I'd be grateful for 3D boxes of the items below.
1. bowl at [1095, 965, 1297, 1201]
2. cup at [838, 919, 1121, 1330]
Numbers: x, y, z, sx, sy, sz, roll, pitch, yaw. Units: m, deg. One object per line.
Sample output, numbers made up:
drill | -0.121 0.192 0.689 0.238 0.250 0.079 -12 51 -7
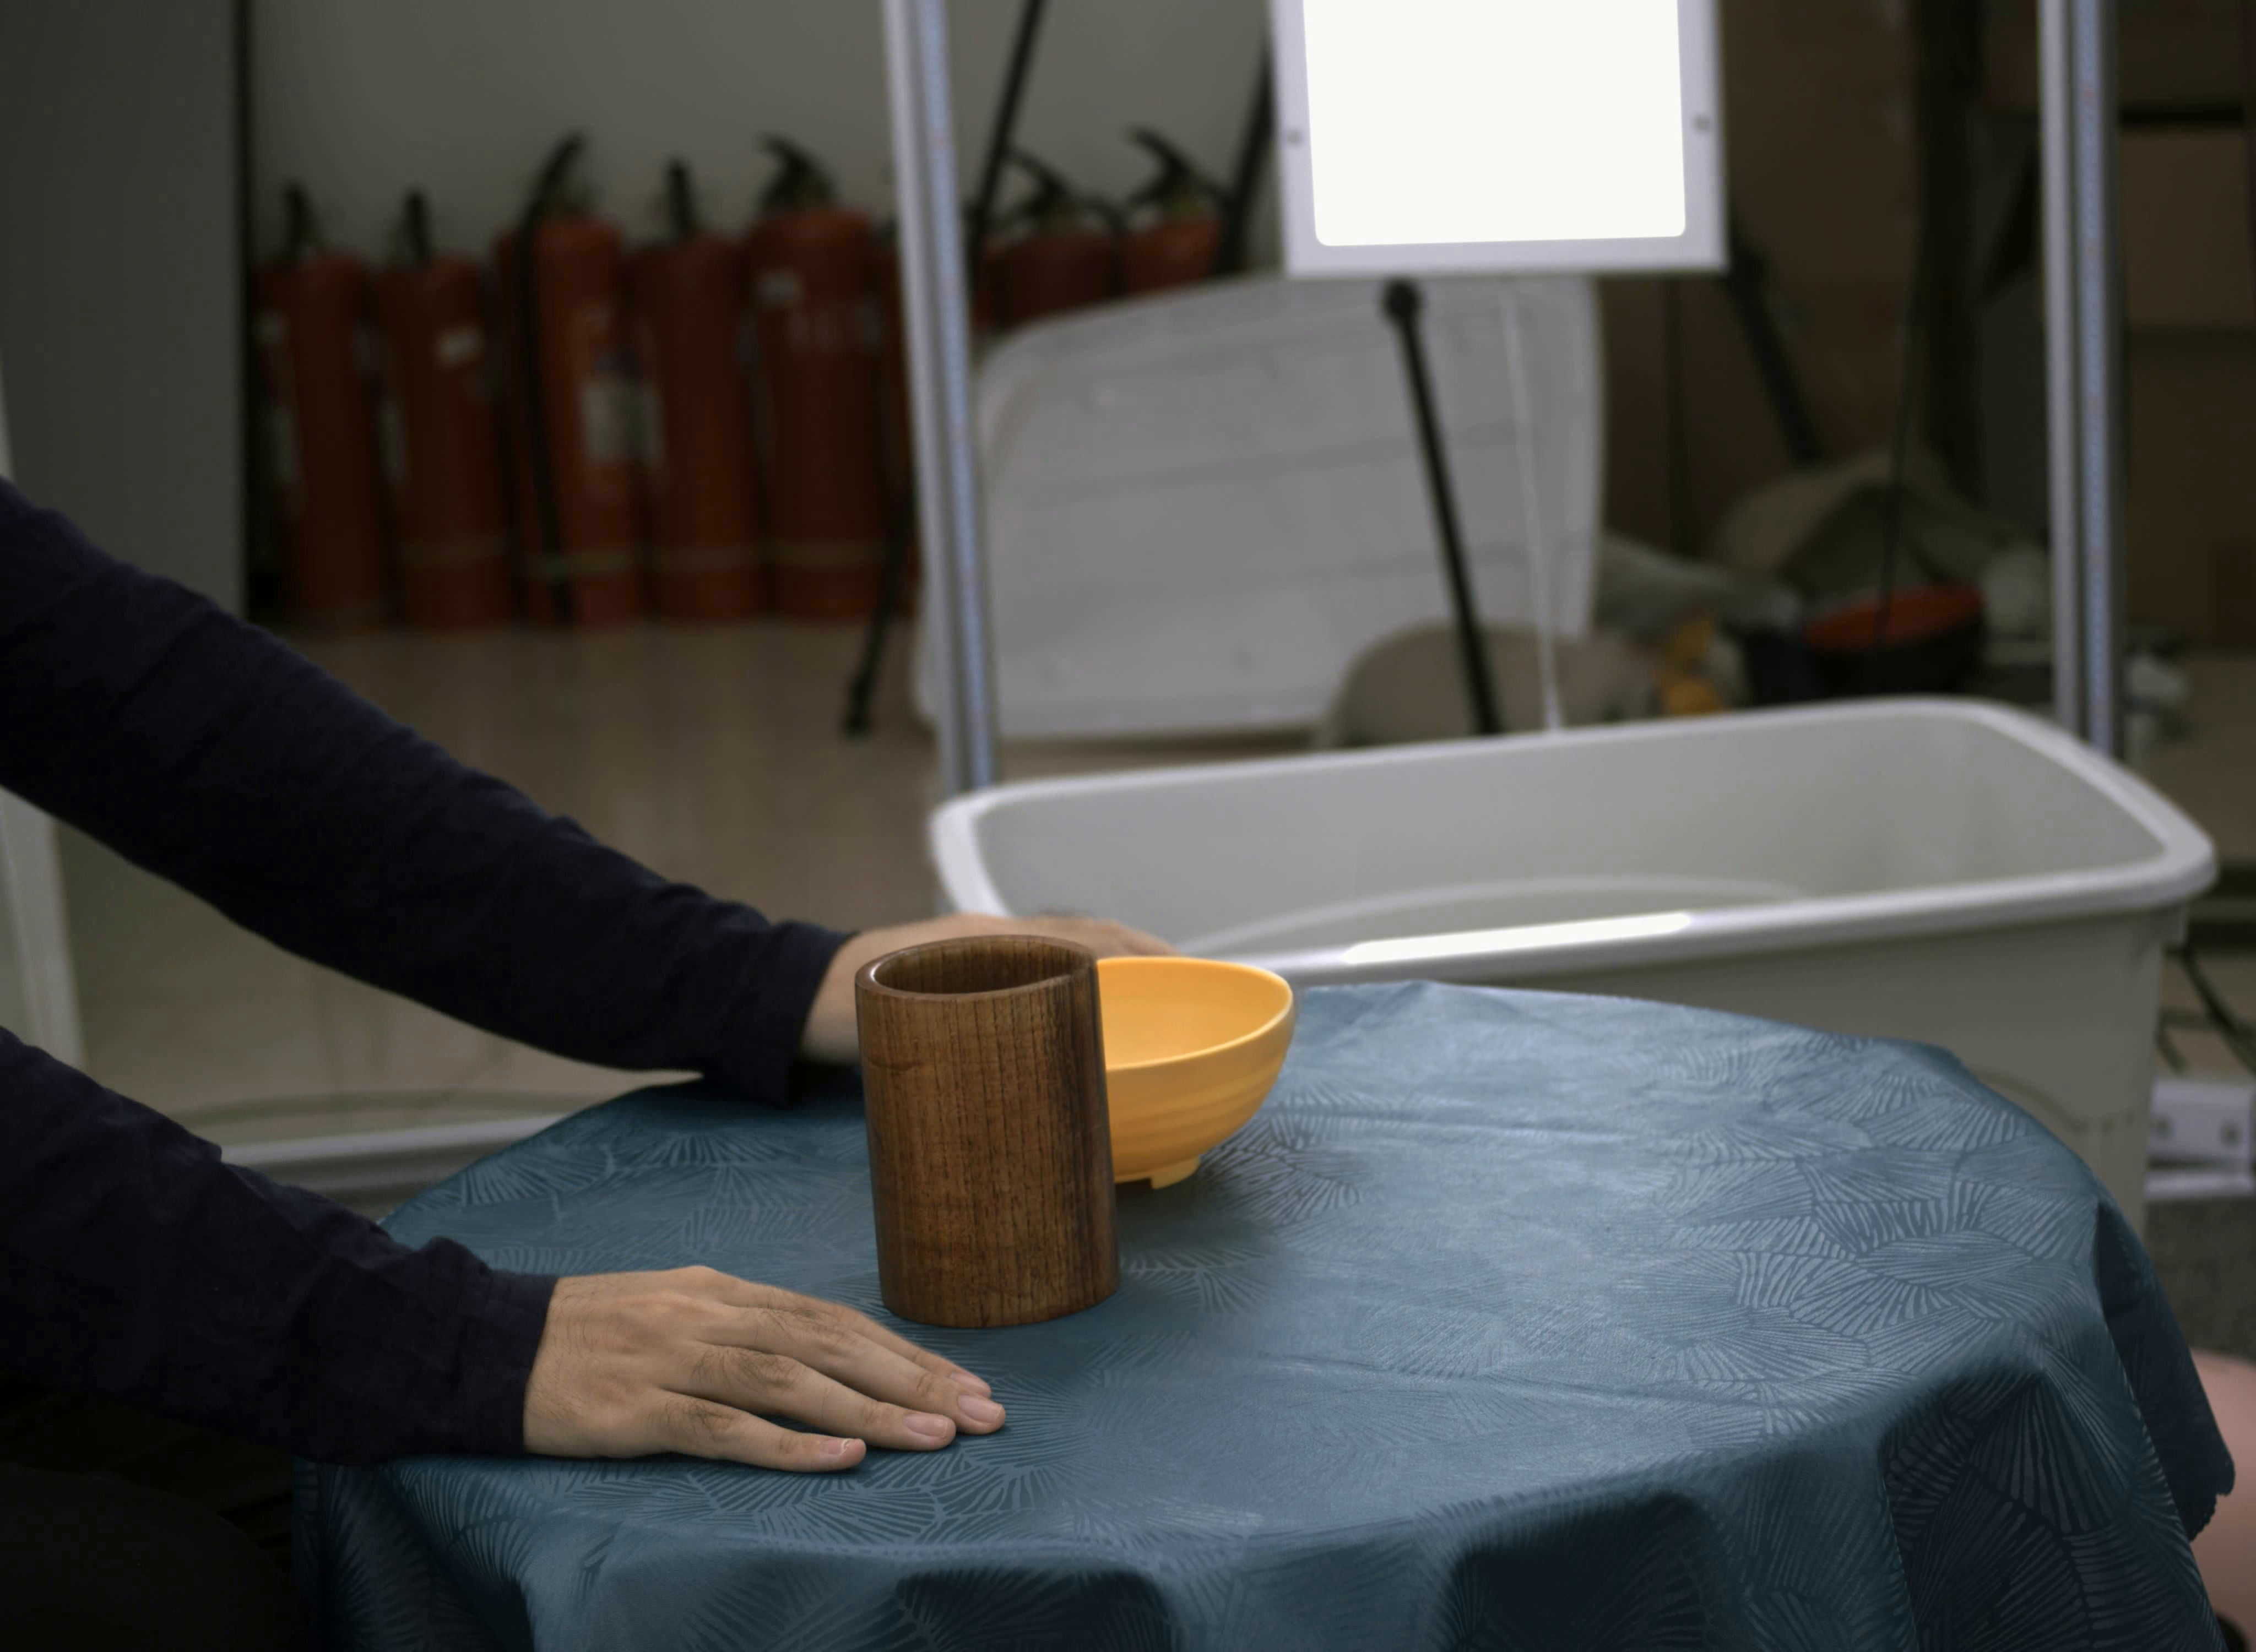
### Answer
bowl | -0.009 0.094 1.919 0.145 0.060 0.145 -6 13 0
cup | -0.047 0.096 1.793 0.087 0.119 0.087 -5 12 0
